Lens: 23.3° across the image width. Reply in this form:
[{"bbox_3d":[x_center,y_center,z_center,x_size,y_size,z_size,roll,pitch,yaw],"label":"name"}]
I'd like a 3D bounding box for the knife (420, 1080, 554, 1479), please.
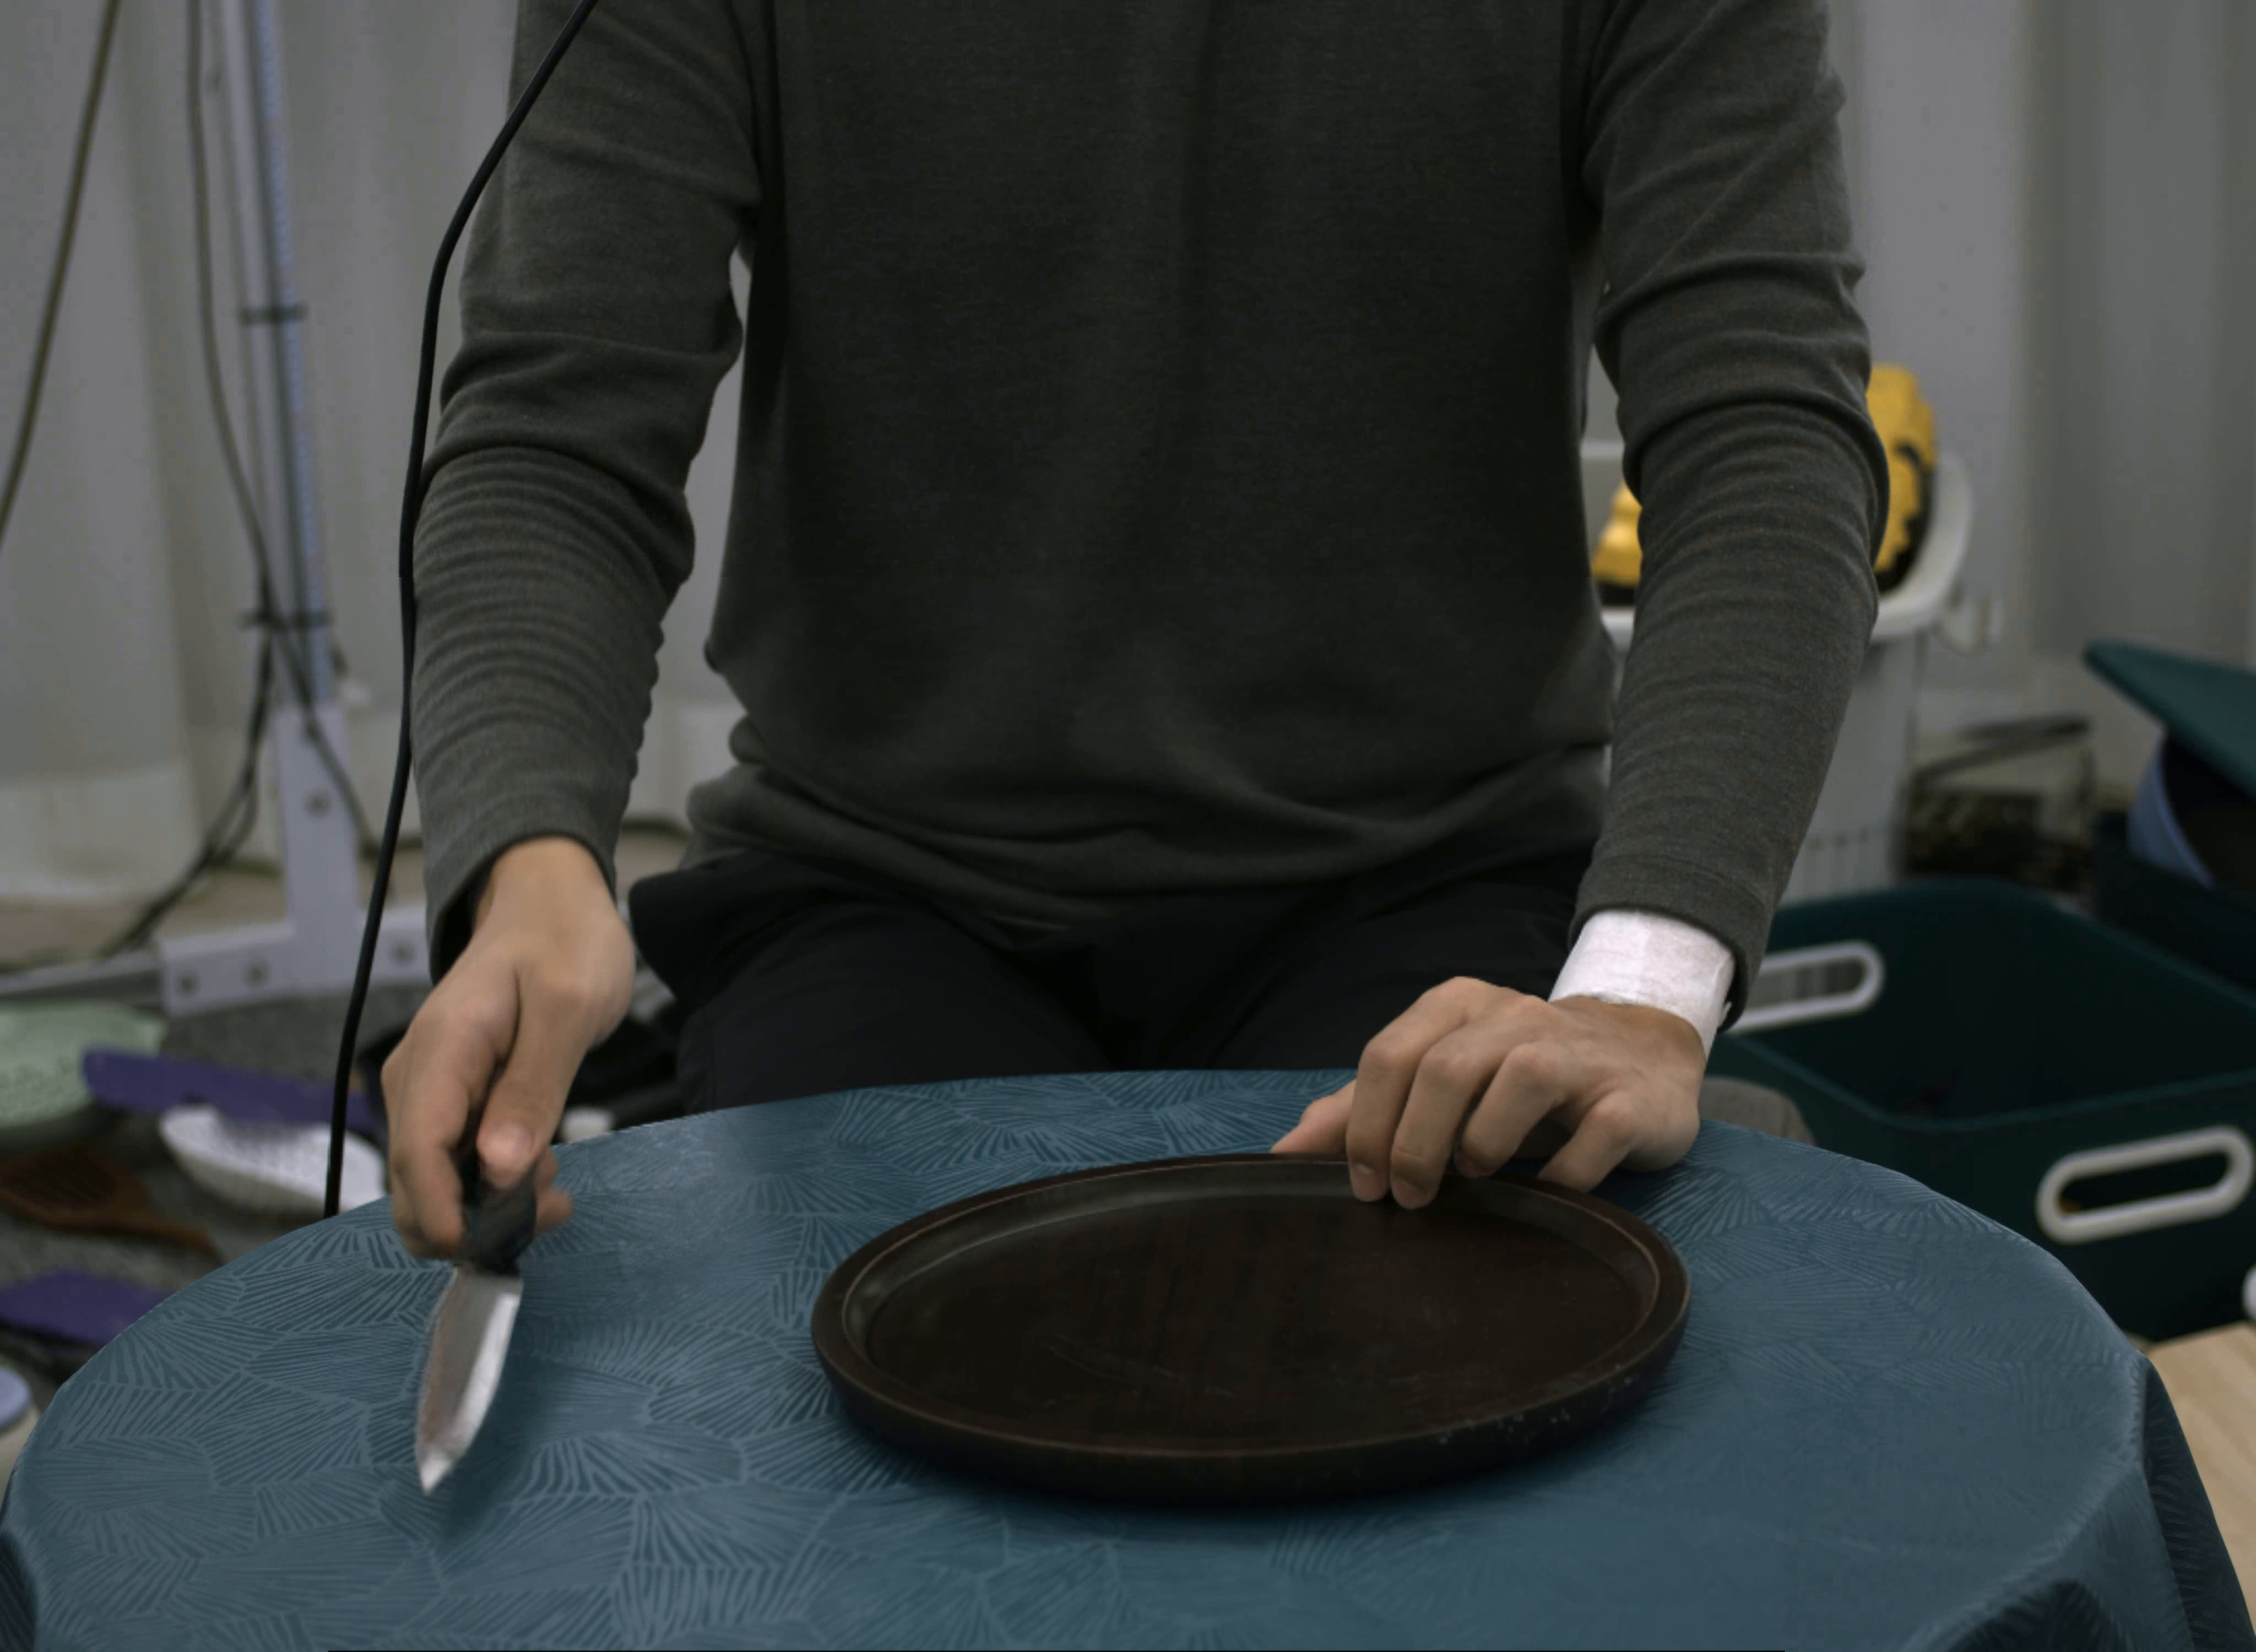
[{"bbox_3d":[-0.186,0.128,1.568,0.024,0.016,0.240,12,22,-5],"label":"knife"}]

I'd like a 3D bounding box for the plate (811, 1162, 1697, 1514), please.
[{"bbox_3d":[0.036,0.143,1.561,0.254,0.029,0.256,-2,16,0],"label":"plate"}]
